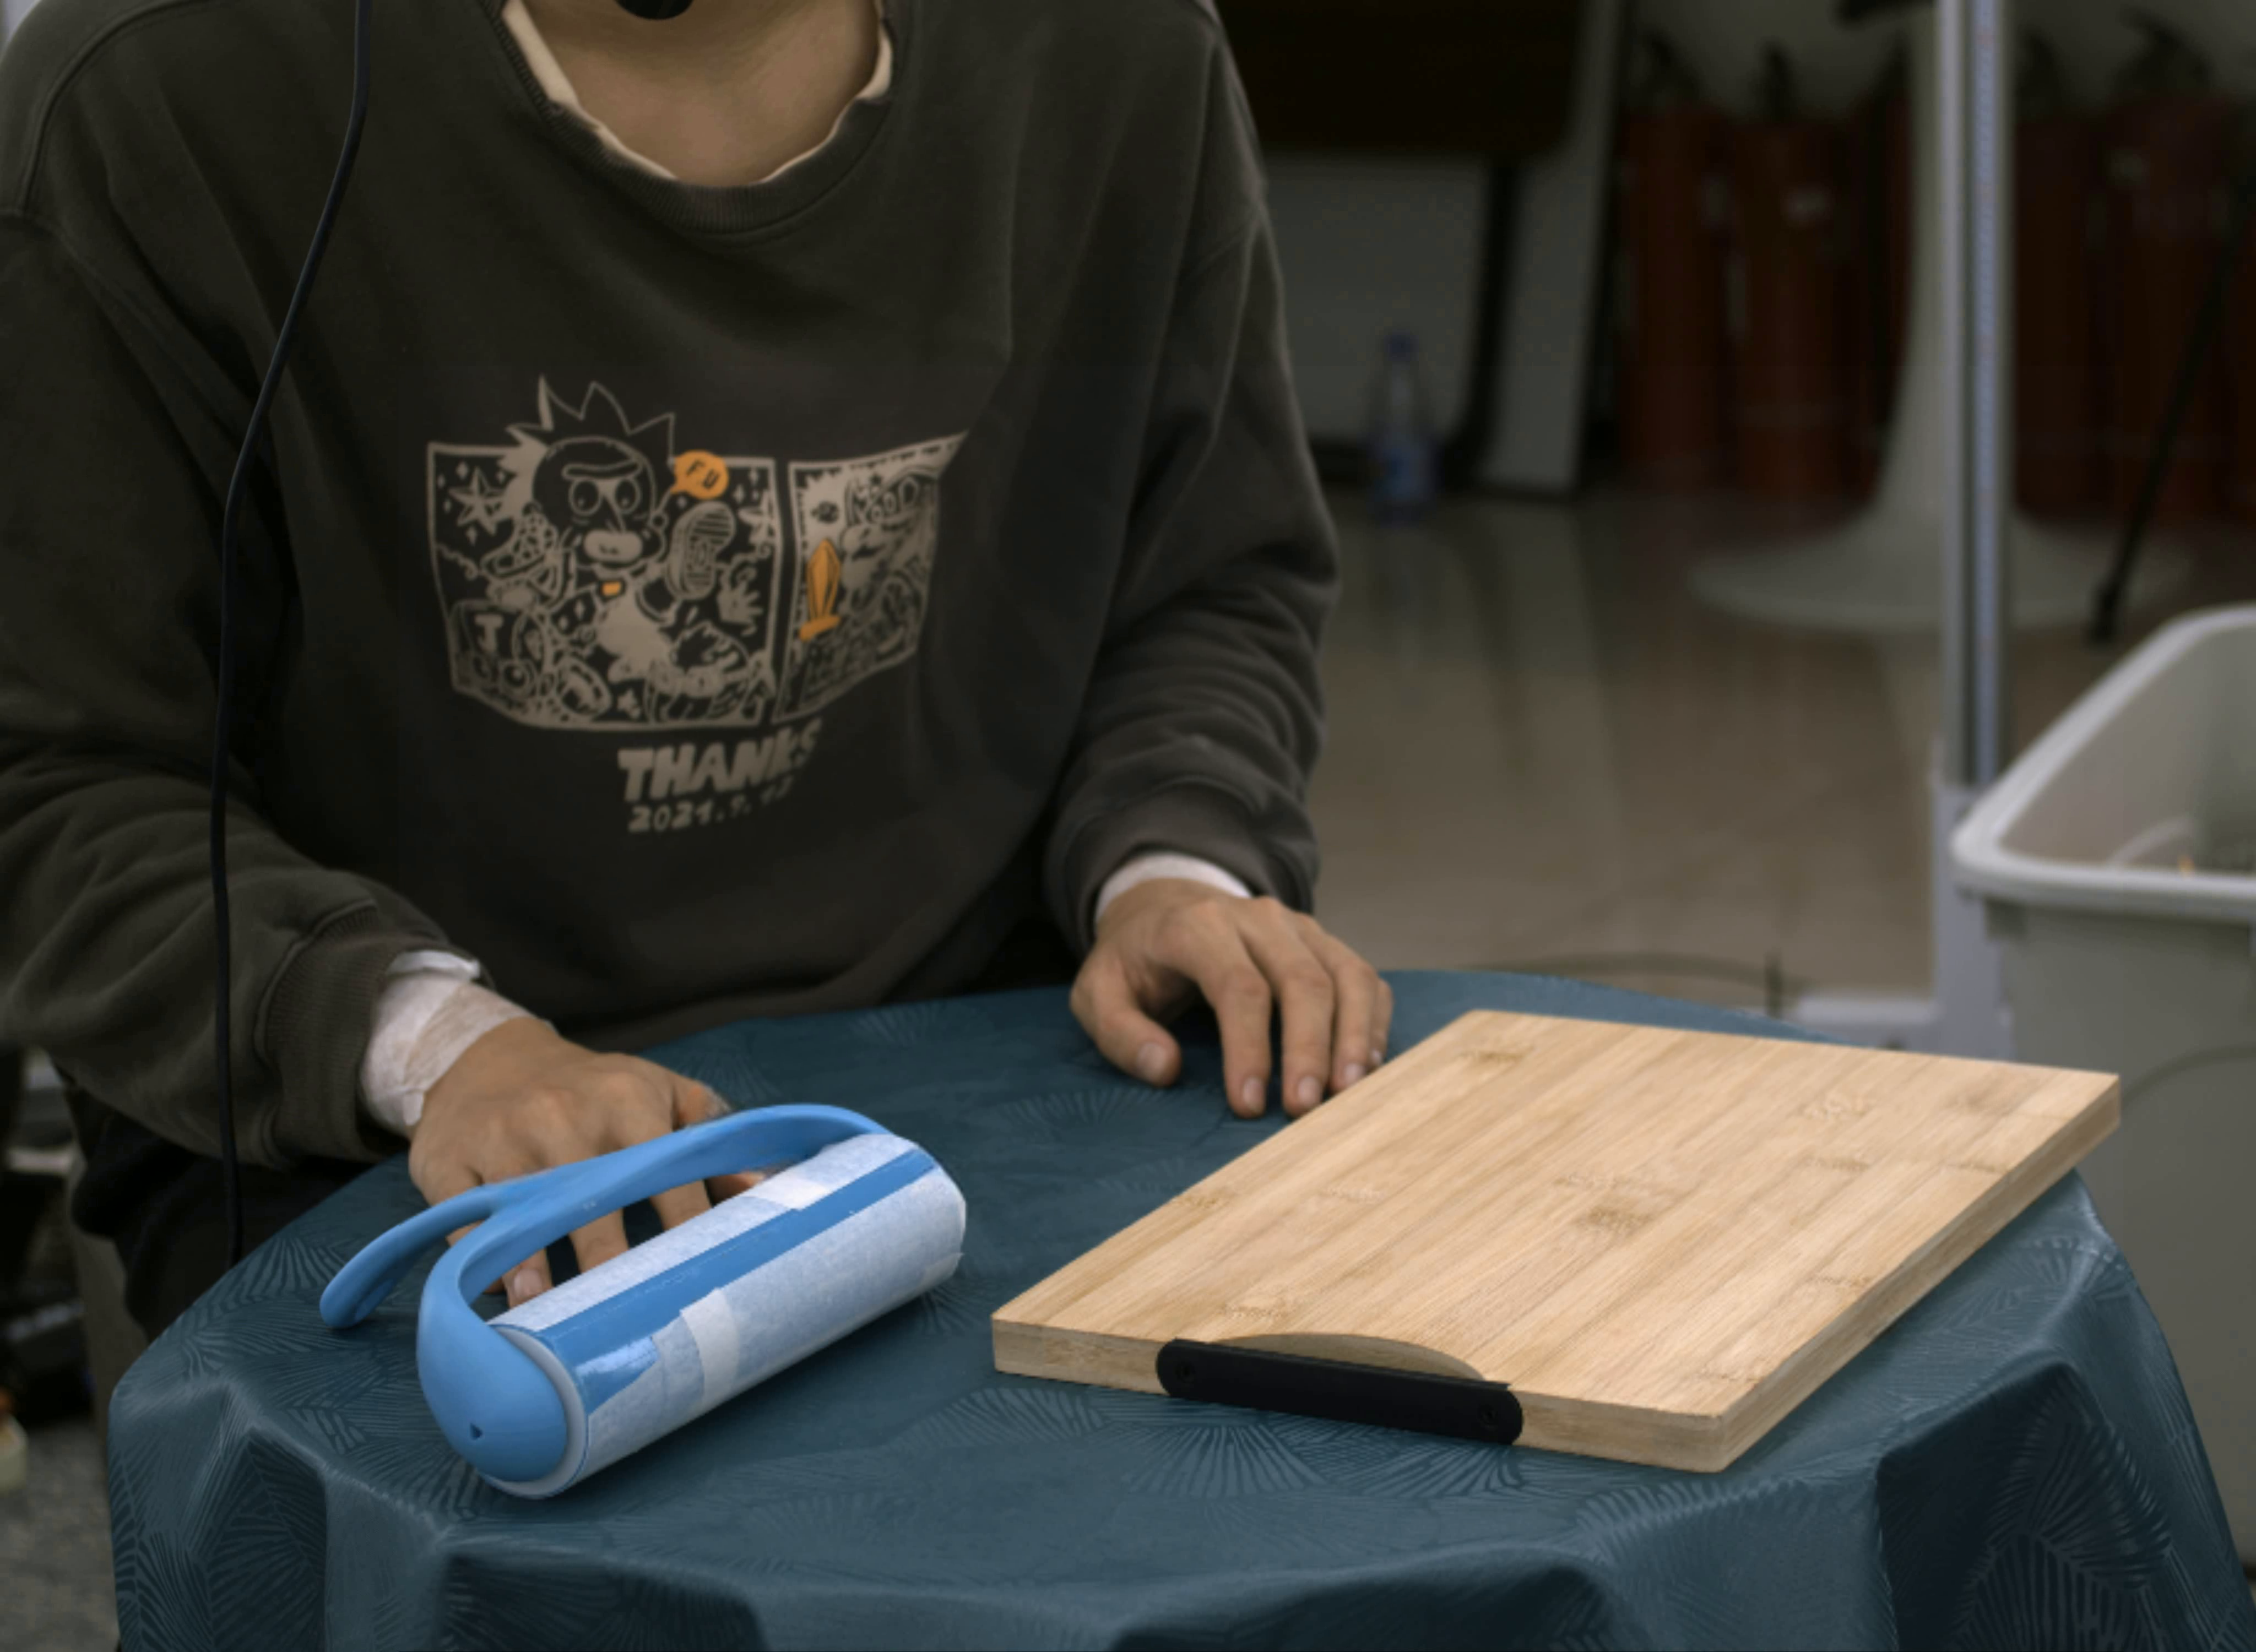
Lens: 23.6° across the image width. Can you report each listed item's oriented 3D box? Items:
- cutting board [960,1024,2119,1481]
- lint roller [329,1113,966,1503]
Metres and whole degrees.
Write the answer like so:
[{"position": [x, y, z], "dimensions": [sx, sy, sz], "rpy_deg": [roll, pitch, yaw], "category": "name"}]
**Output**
[{"position": [0.139, 0.126, 1.683], "dimensions": [0.251, 0.024, 0.343], "rpy_deg": [3, 15, 29], "category": "cutting board"}, {"position": [-0.173, 0.138, 1.636], "dimensions": [0.181, 0.068, 0.225], "rpy_deg": [6, 17, 31], "category": "lint roller"}]
